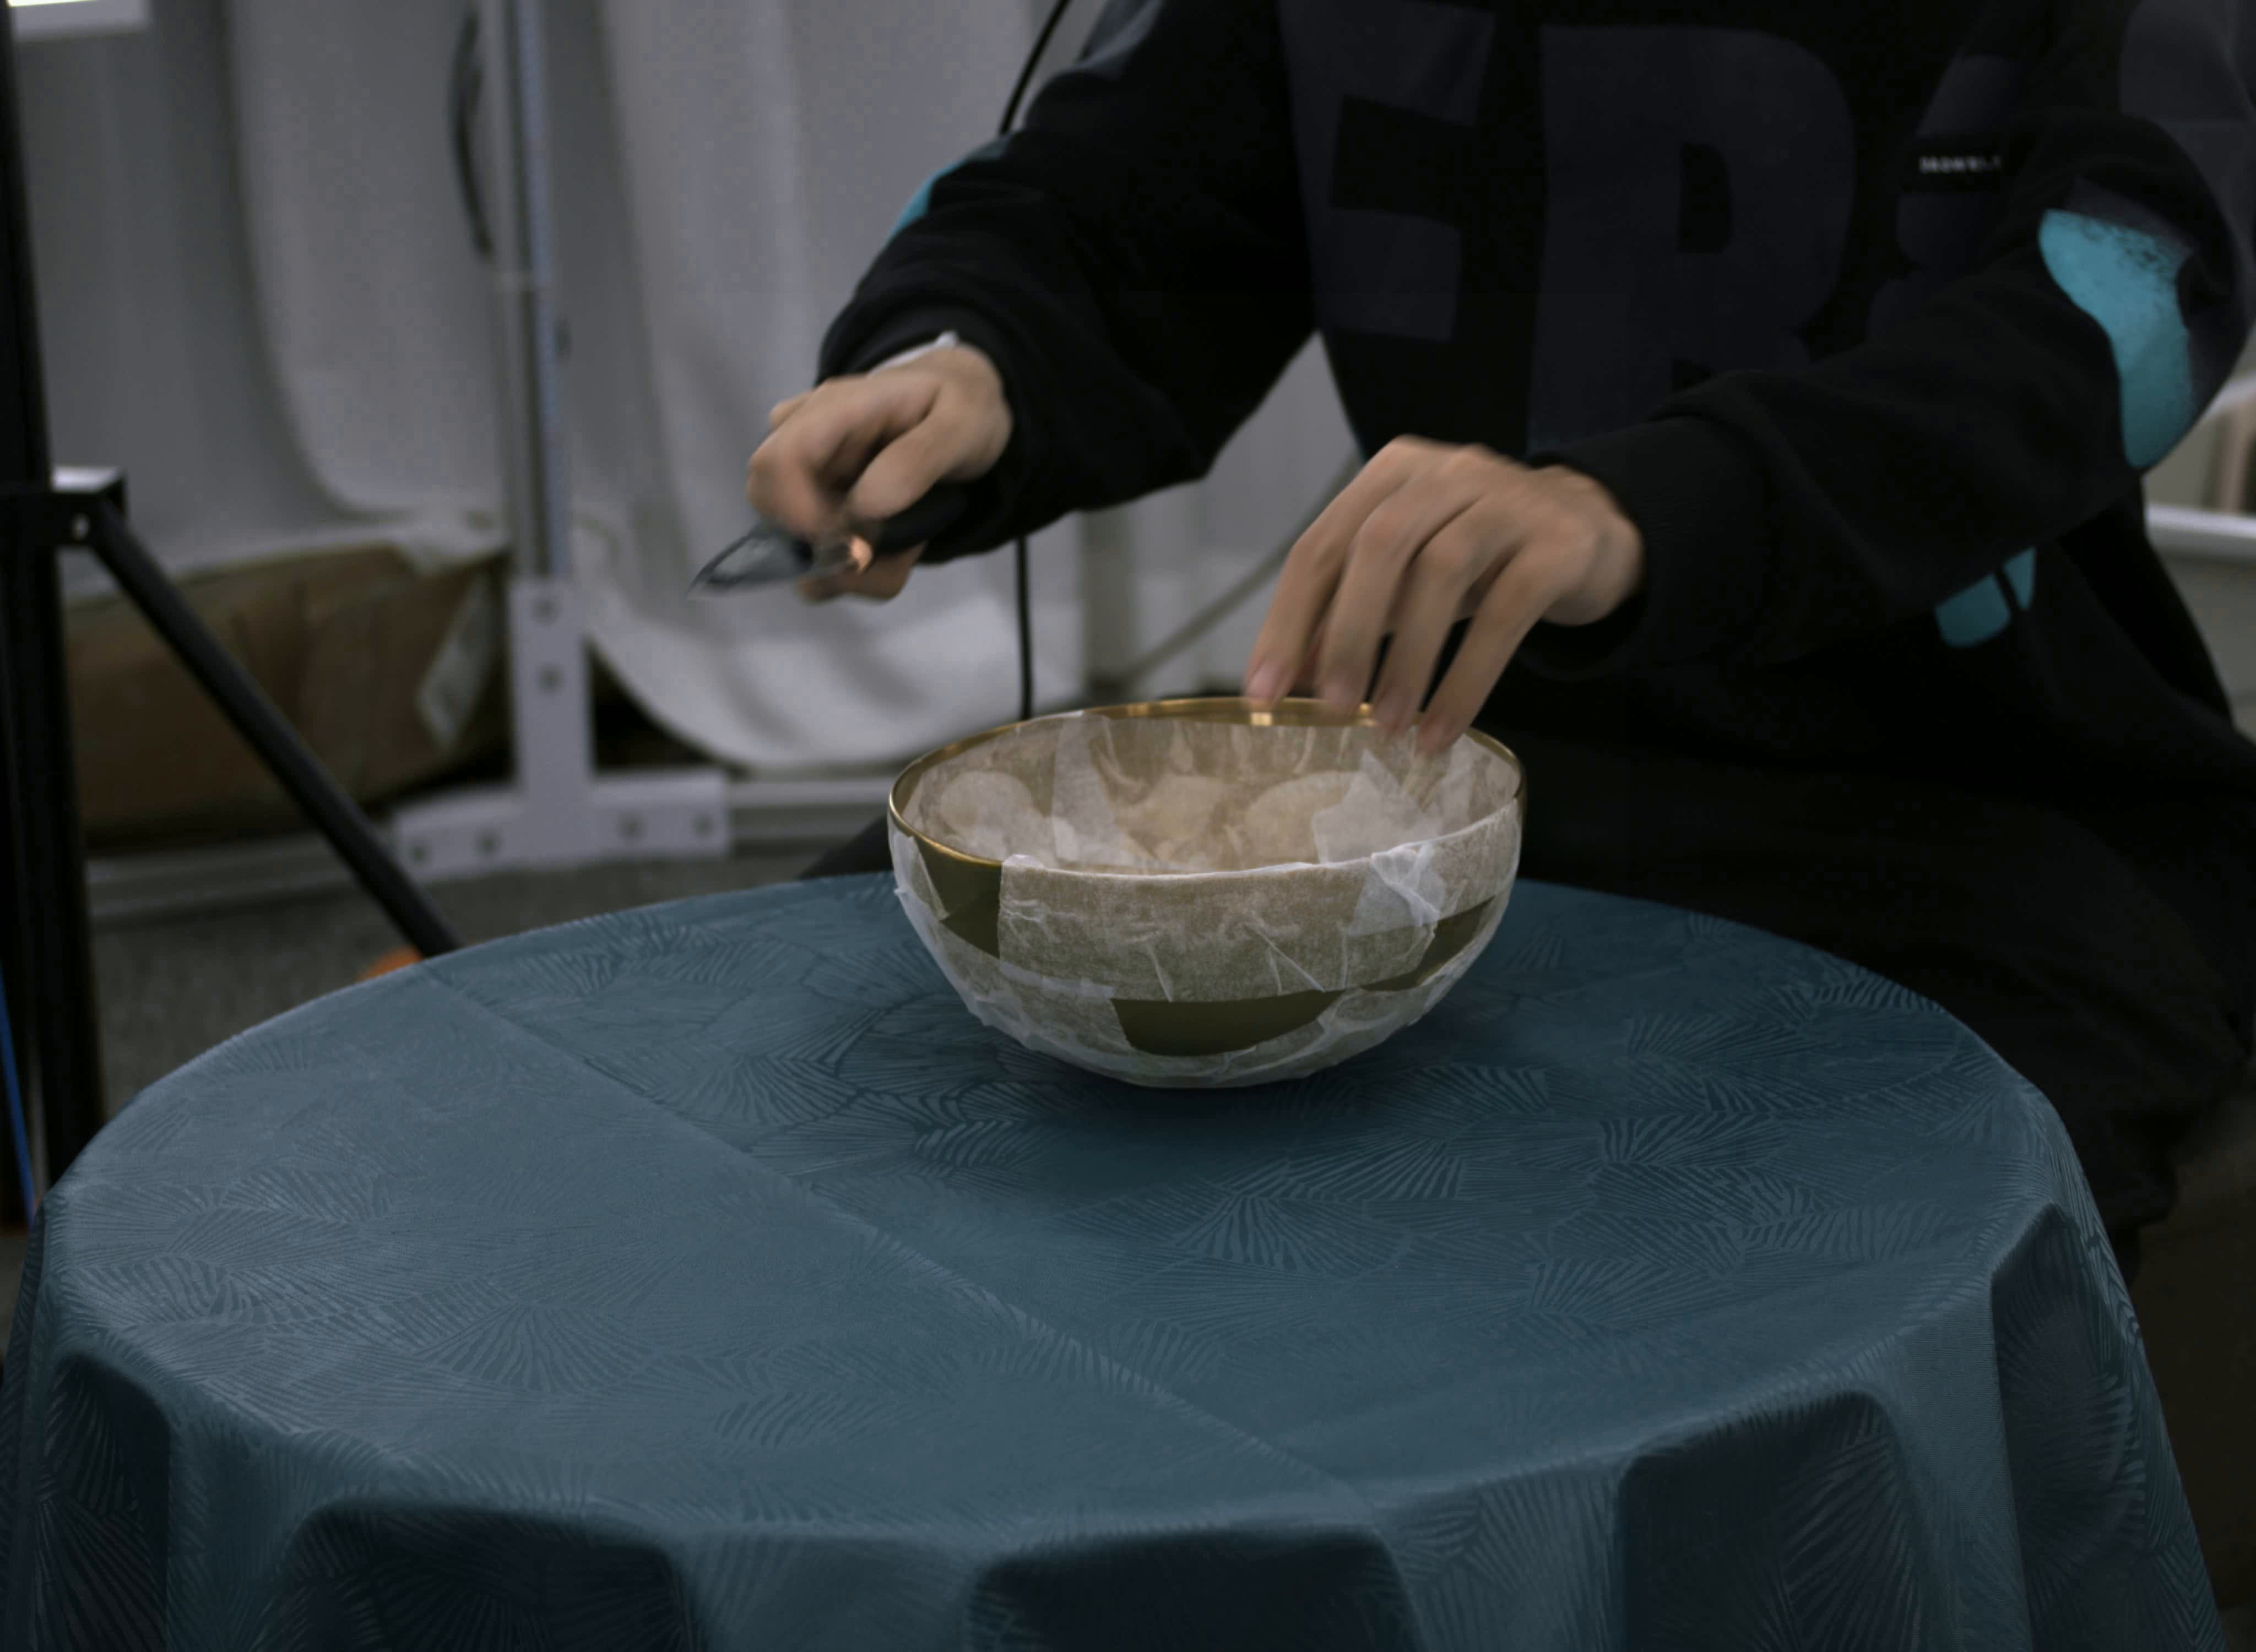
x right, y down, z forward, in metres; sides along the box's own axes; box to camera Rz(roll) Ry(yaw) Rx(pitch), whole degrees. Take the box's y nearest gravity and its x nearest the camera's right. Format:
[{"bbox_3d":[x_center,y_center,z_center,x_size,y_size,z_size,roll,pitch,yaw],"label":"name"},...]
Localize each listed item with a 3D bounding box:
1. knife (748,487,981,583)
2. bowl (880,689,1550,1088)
[{"bbox_3d":[-0.086,-0.091,1.684,0.026,0.017,0.223,25,14,11],"label":"knife"},{"bbox_3d":[0.028,0.027,1.665,0.214,0.094,0.216,-4,16,0],"label":"bowl"}]
